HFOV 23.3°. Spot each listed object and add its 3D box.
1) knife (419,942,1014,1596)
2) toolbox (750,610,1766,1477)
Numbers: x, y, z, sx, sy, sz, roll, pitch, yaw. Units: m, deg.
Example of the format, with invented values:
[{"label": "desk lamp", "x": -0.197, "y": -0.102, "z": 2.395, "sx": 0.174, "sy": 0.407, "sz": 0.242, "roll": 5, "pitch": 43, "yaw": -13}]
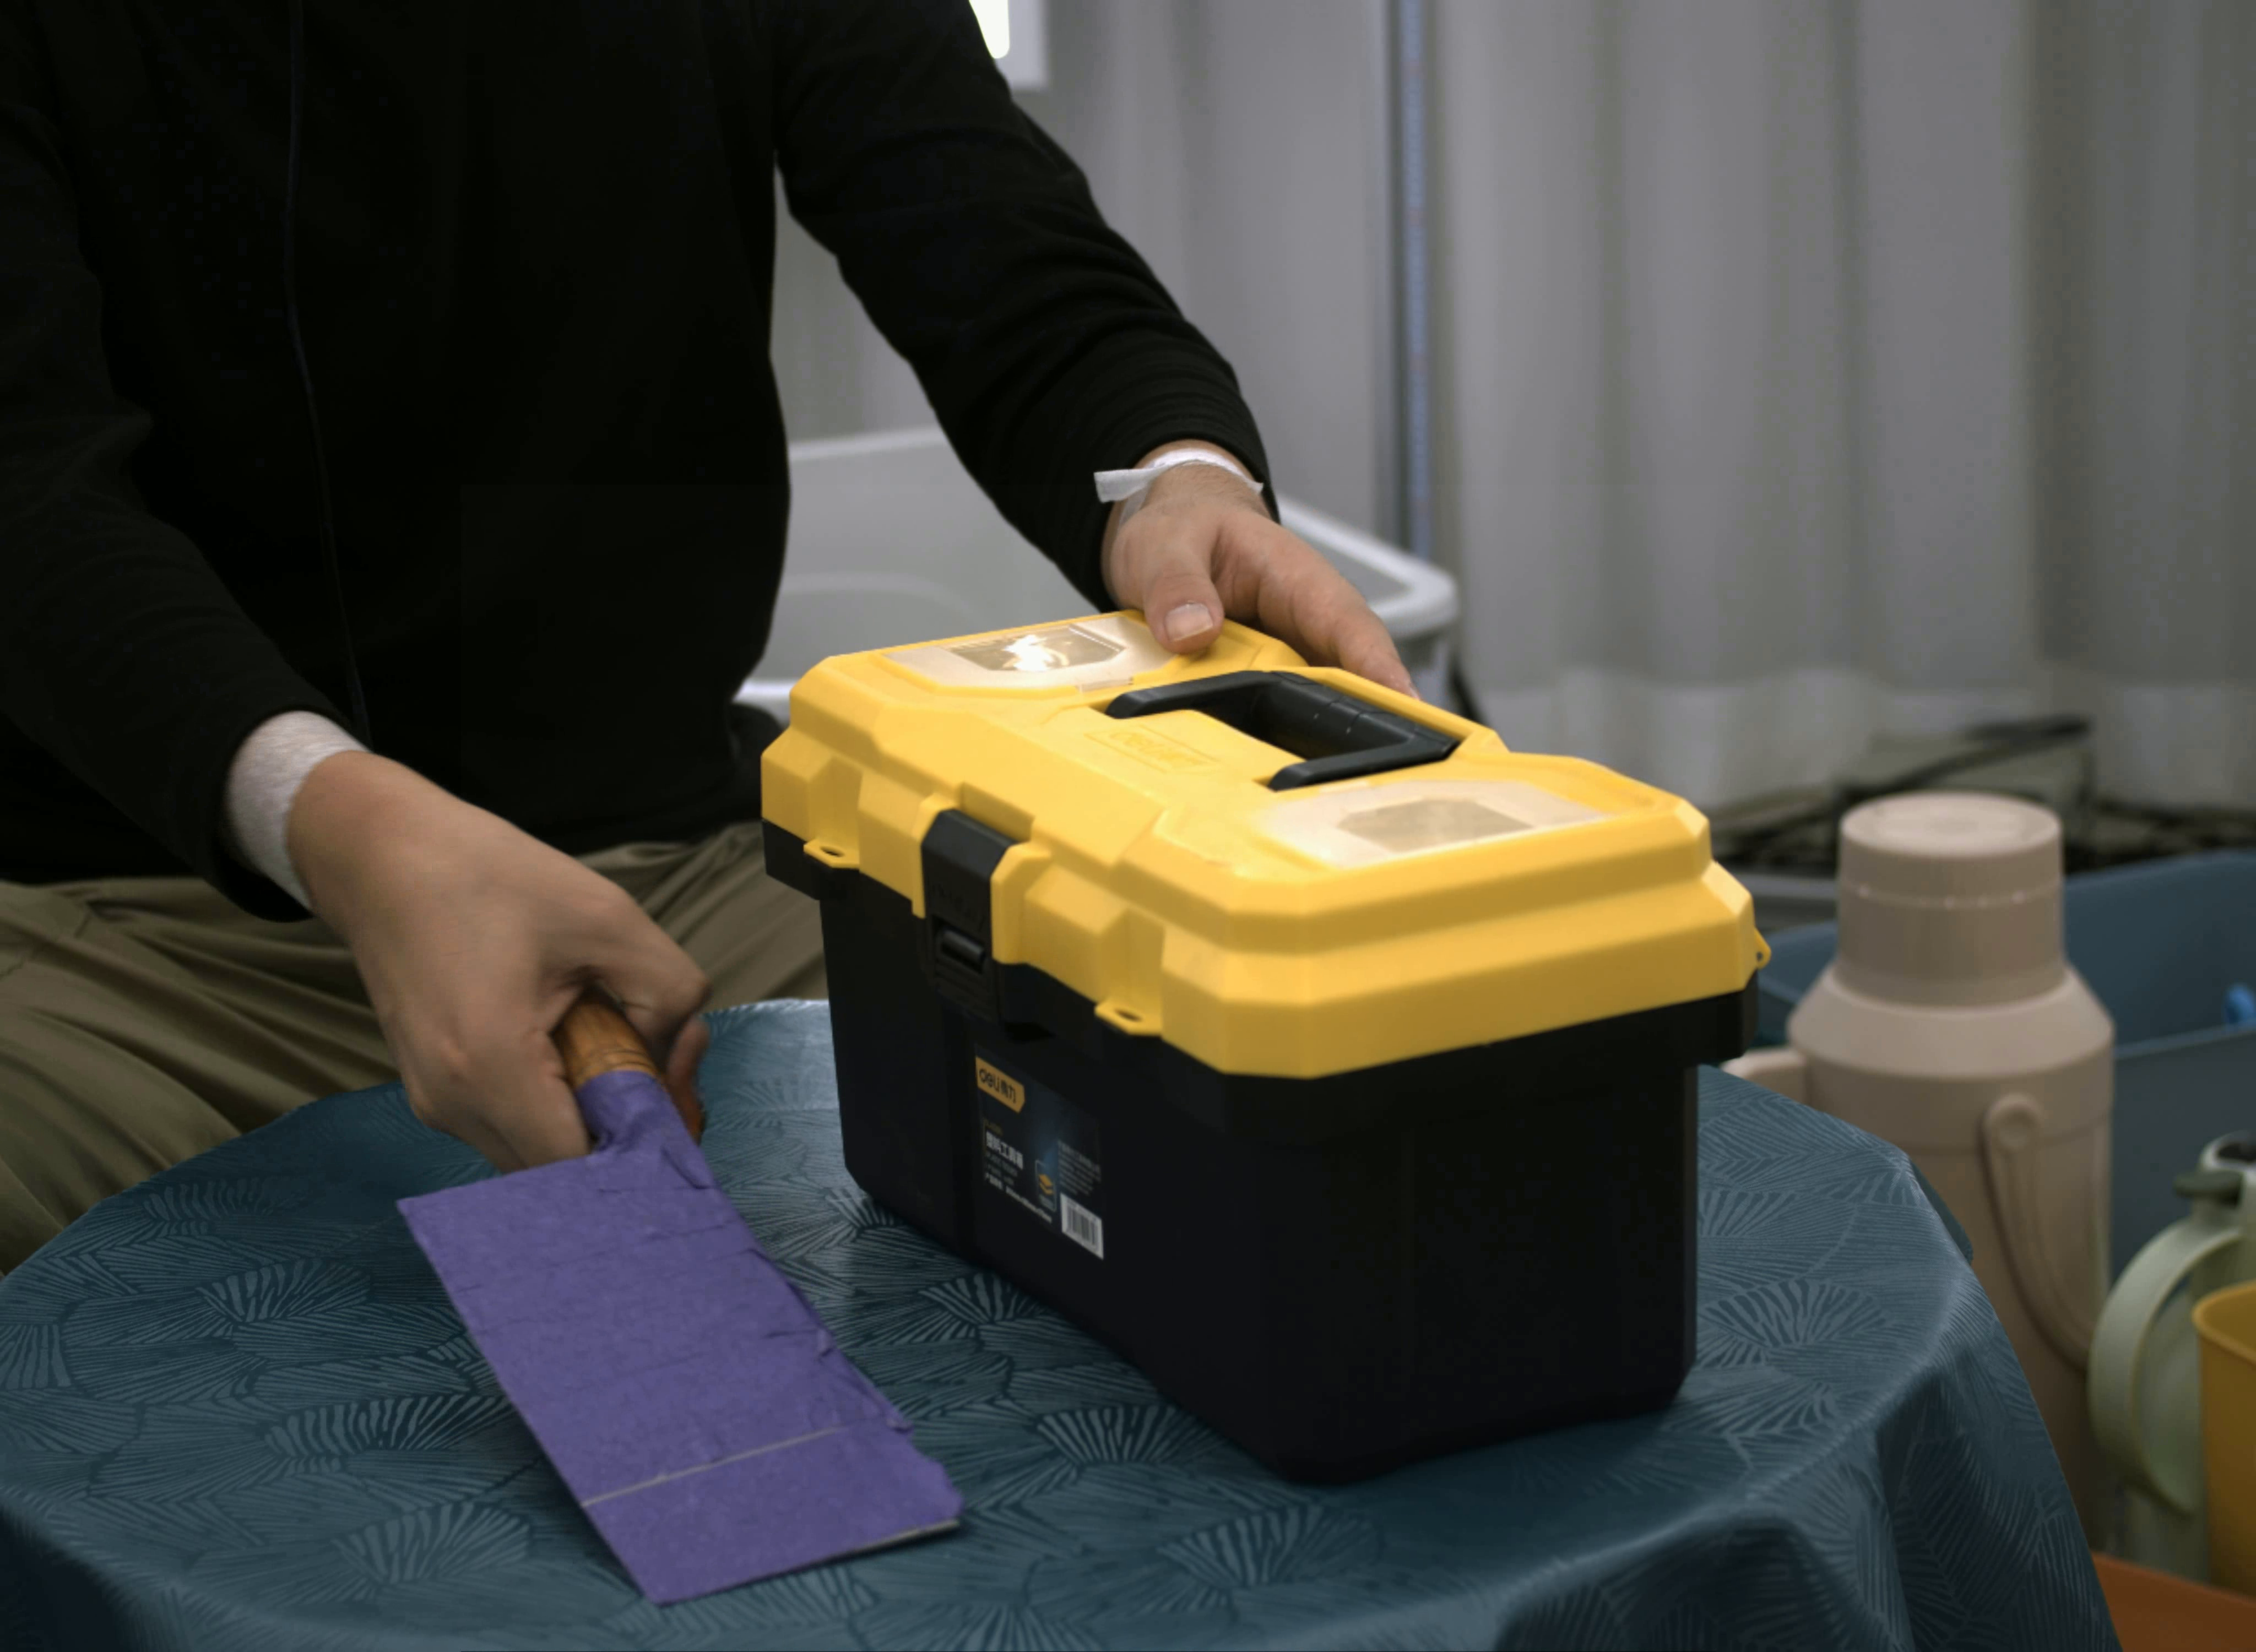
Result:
[{"label": "knife", "x": -0.143, "y": 0.119, "z": 1.547, "sx": 0.103, "sy": 0.032, "sz": 0.319, "roll": -11, "pitch": 29, "yaw": -24}, {"label": "toolbox", "x": 0.030, "y": 0.054, "z": 1.601, "sx": 0.180, "sy": 0.172, "sz": 0.354, "roll": -9, "pitch": 15, "yaw": -24}]
